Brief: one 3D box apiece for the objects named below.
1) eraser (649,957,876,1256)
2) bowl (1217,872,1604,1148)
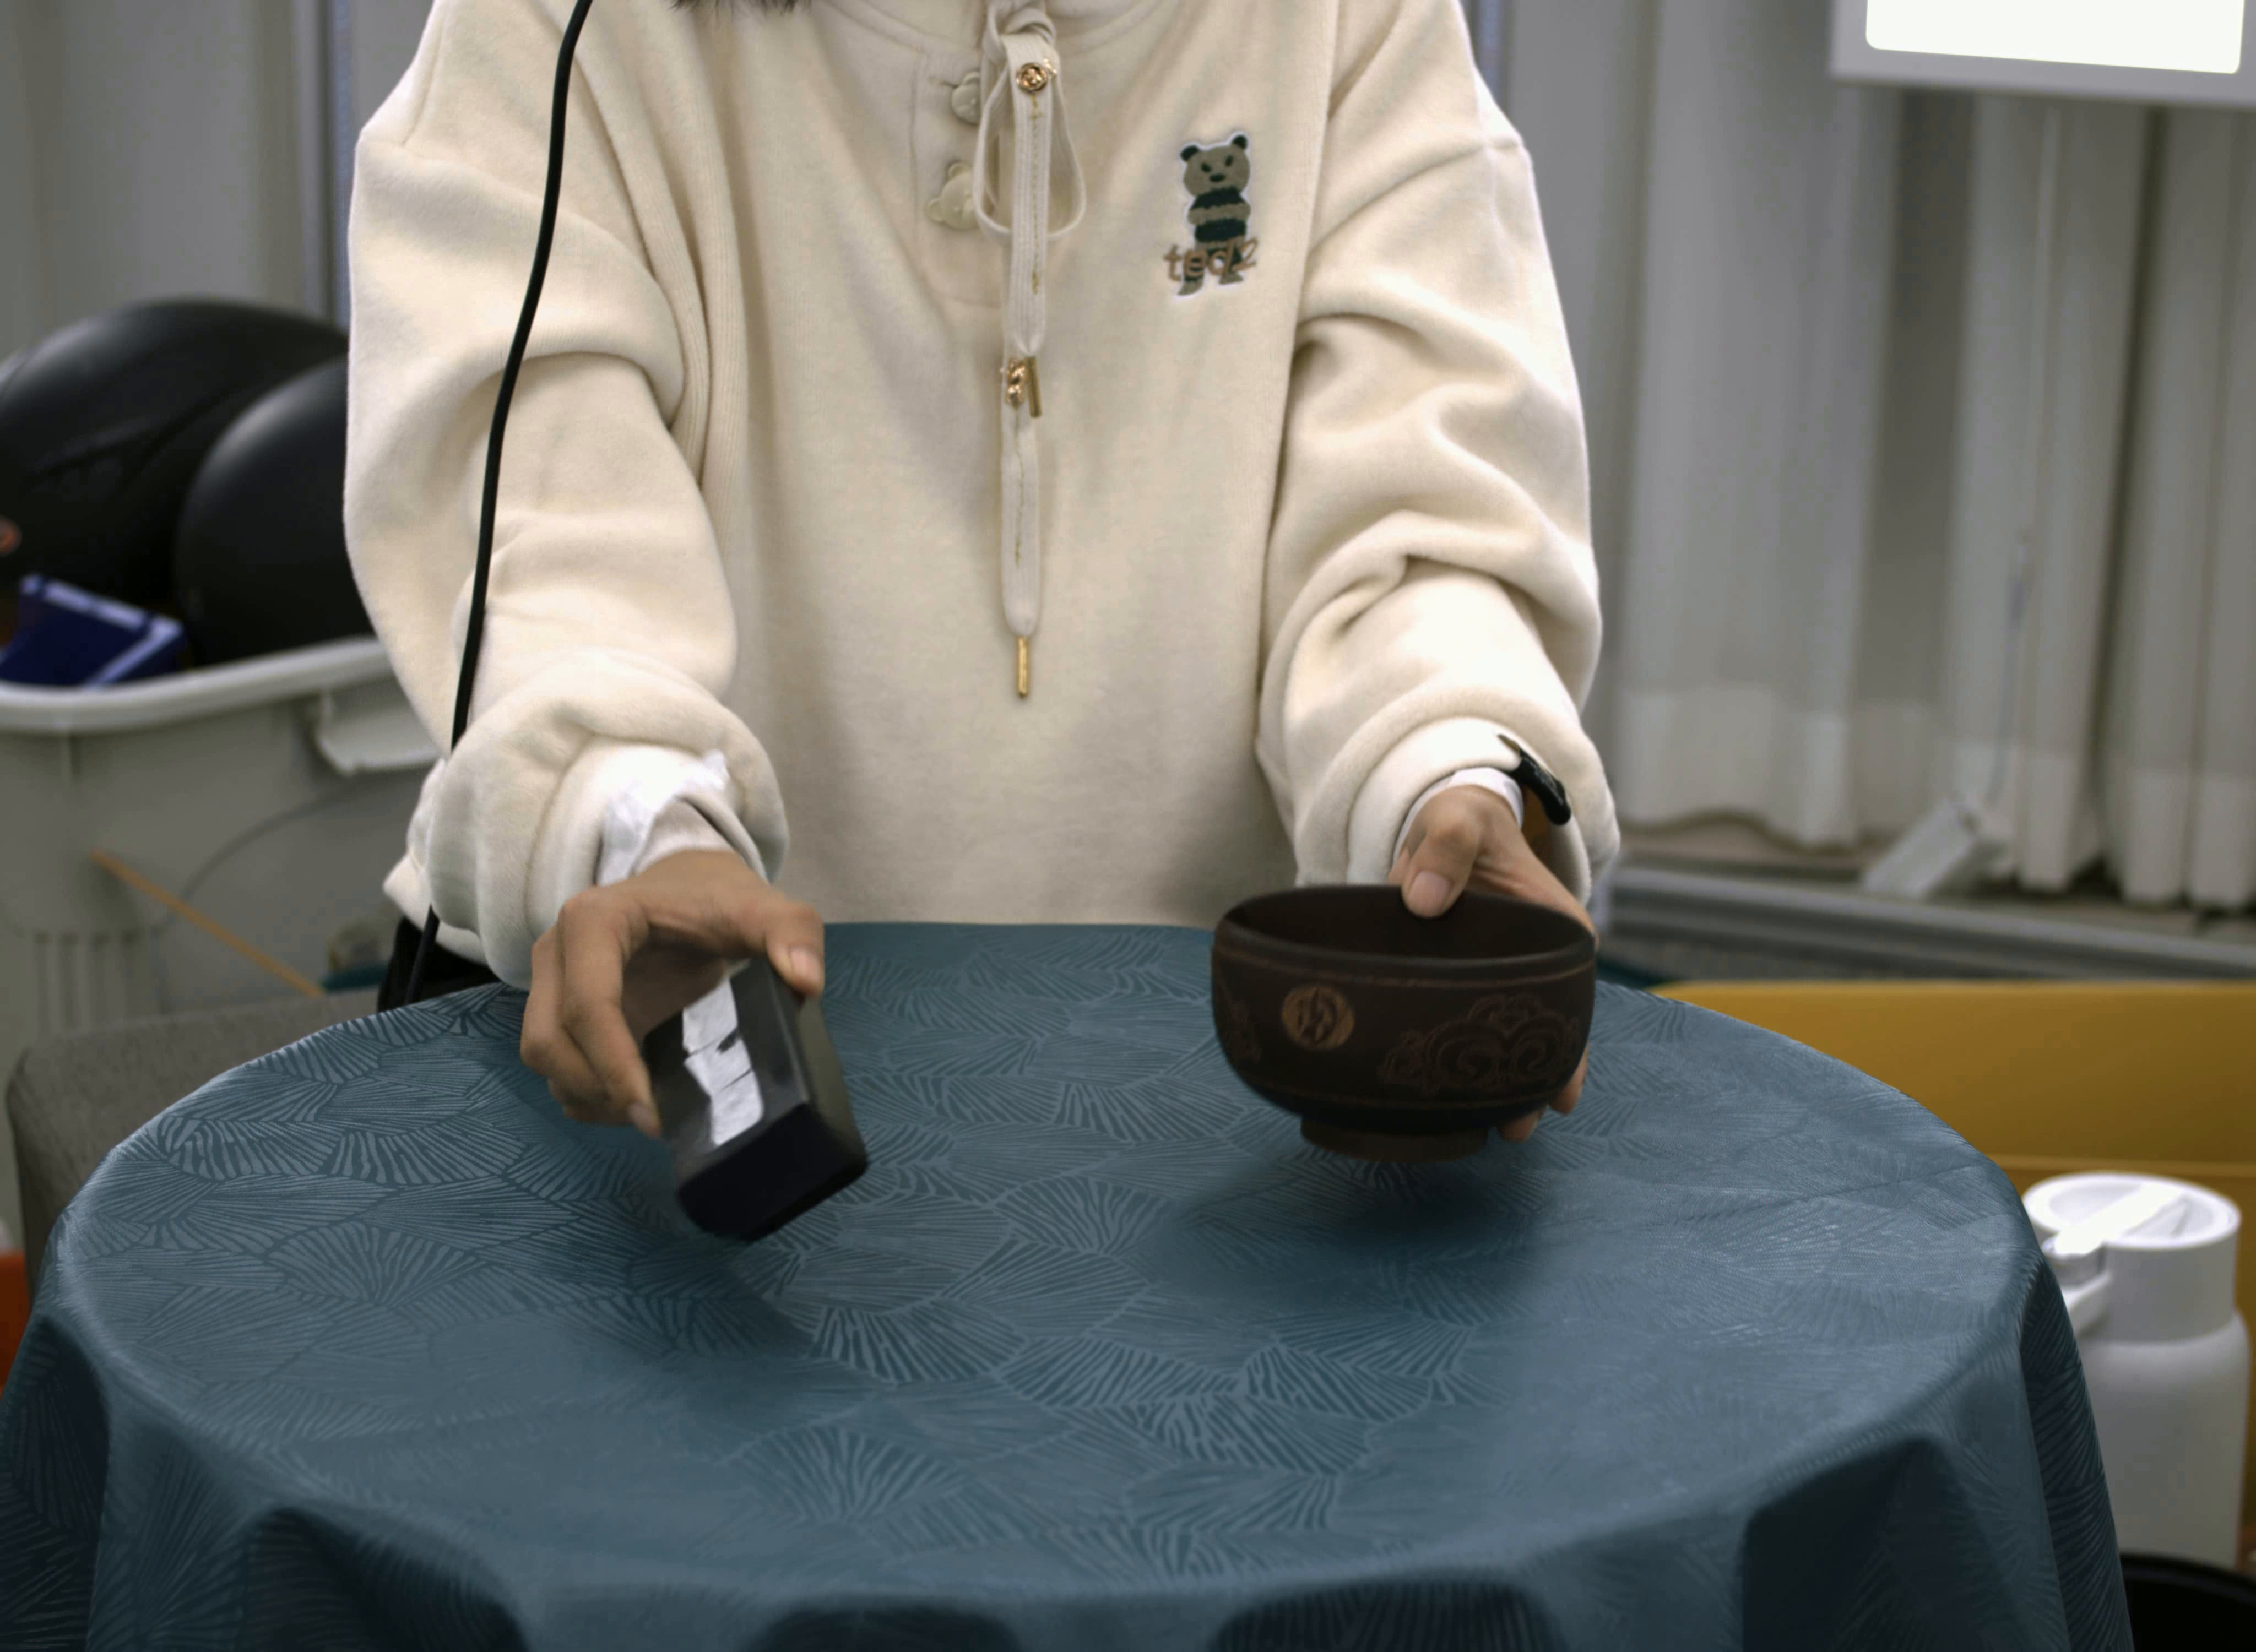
[{"bbox_3d":[-0.107,0.080,1.530,0.053,0.031,0.124,-35,20,2],"label":"eraser"},{"bbox_3d":[0.085,0.058,1.608,0.117,0.070,0.117,4,10,0],"label":"bowl"}]
